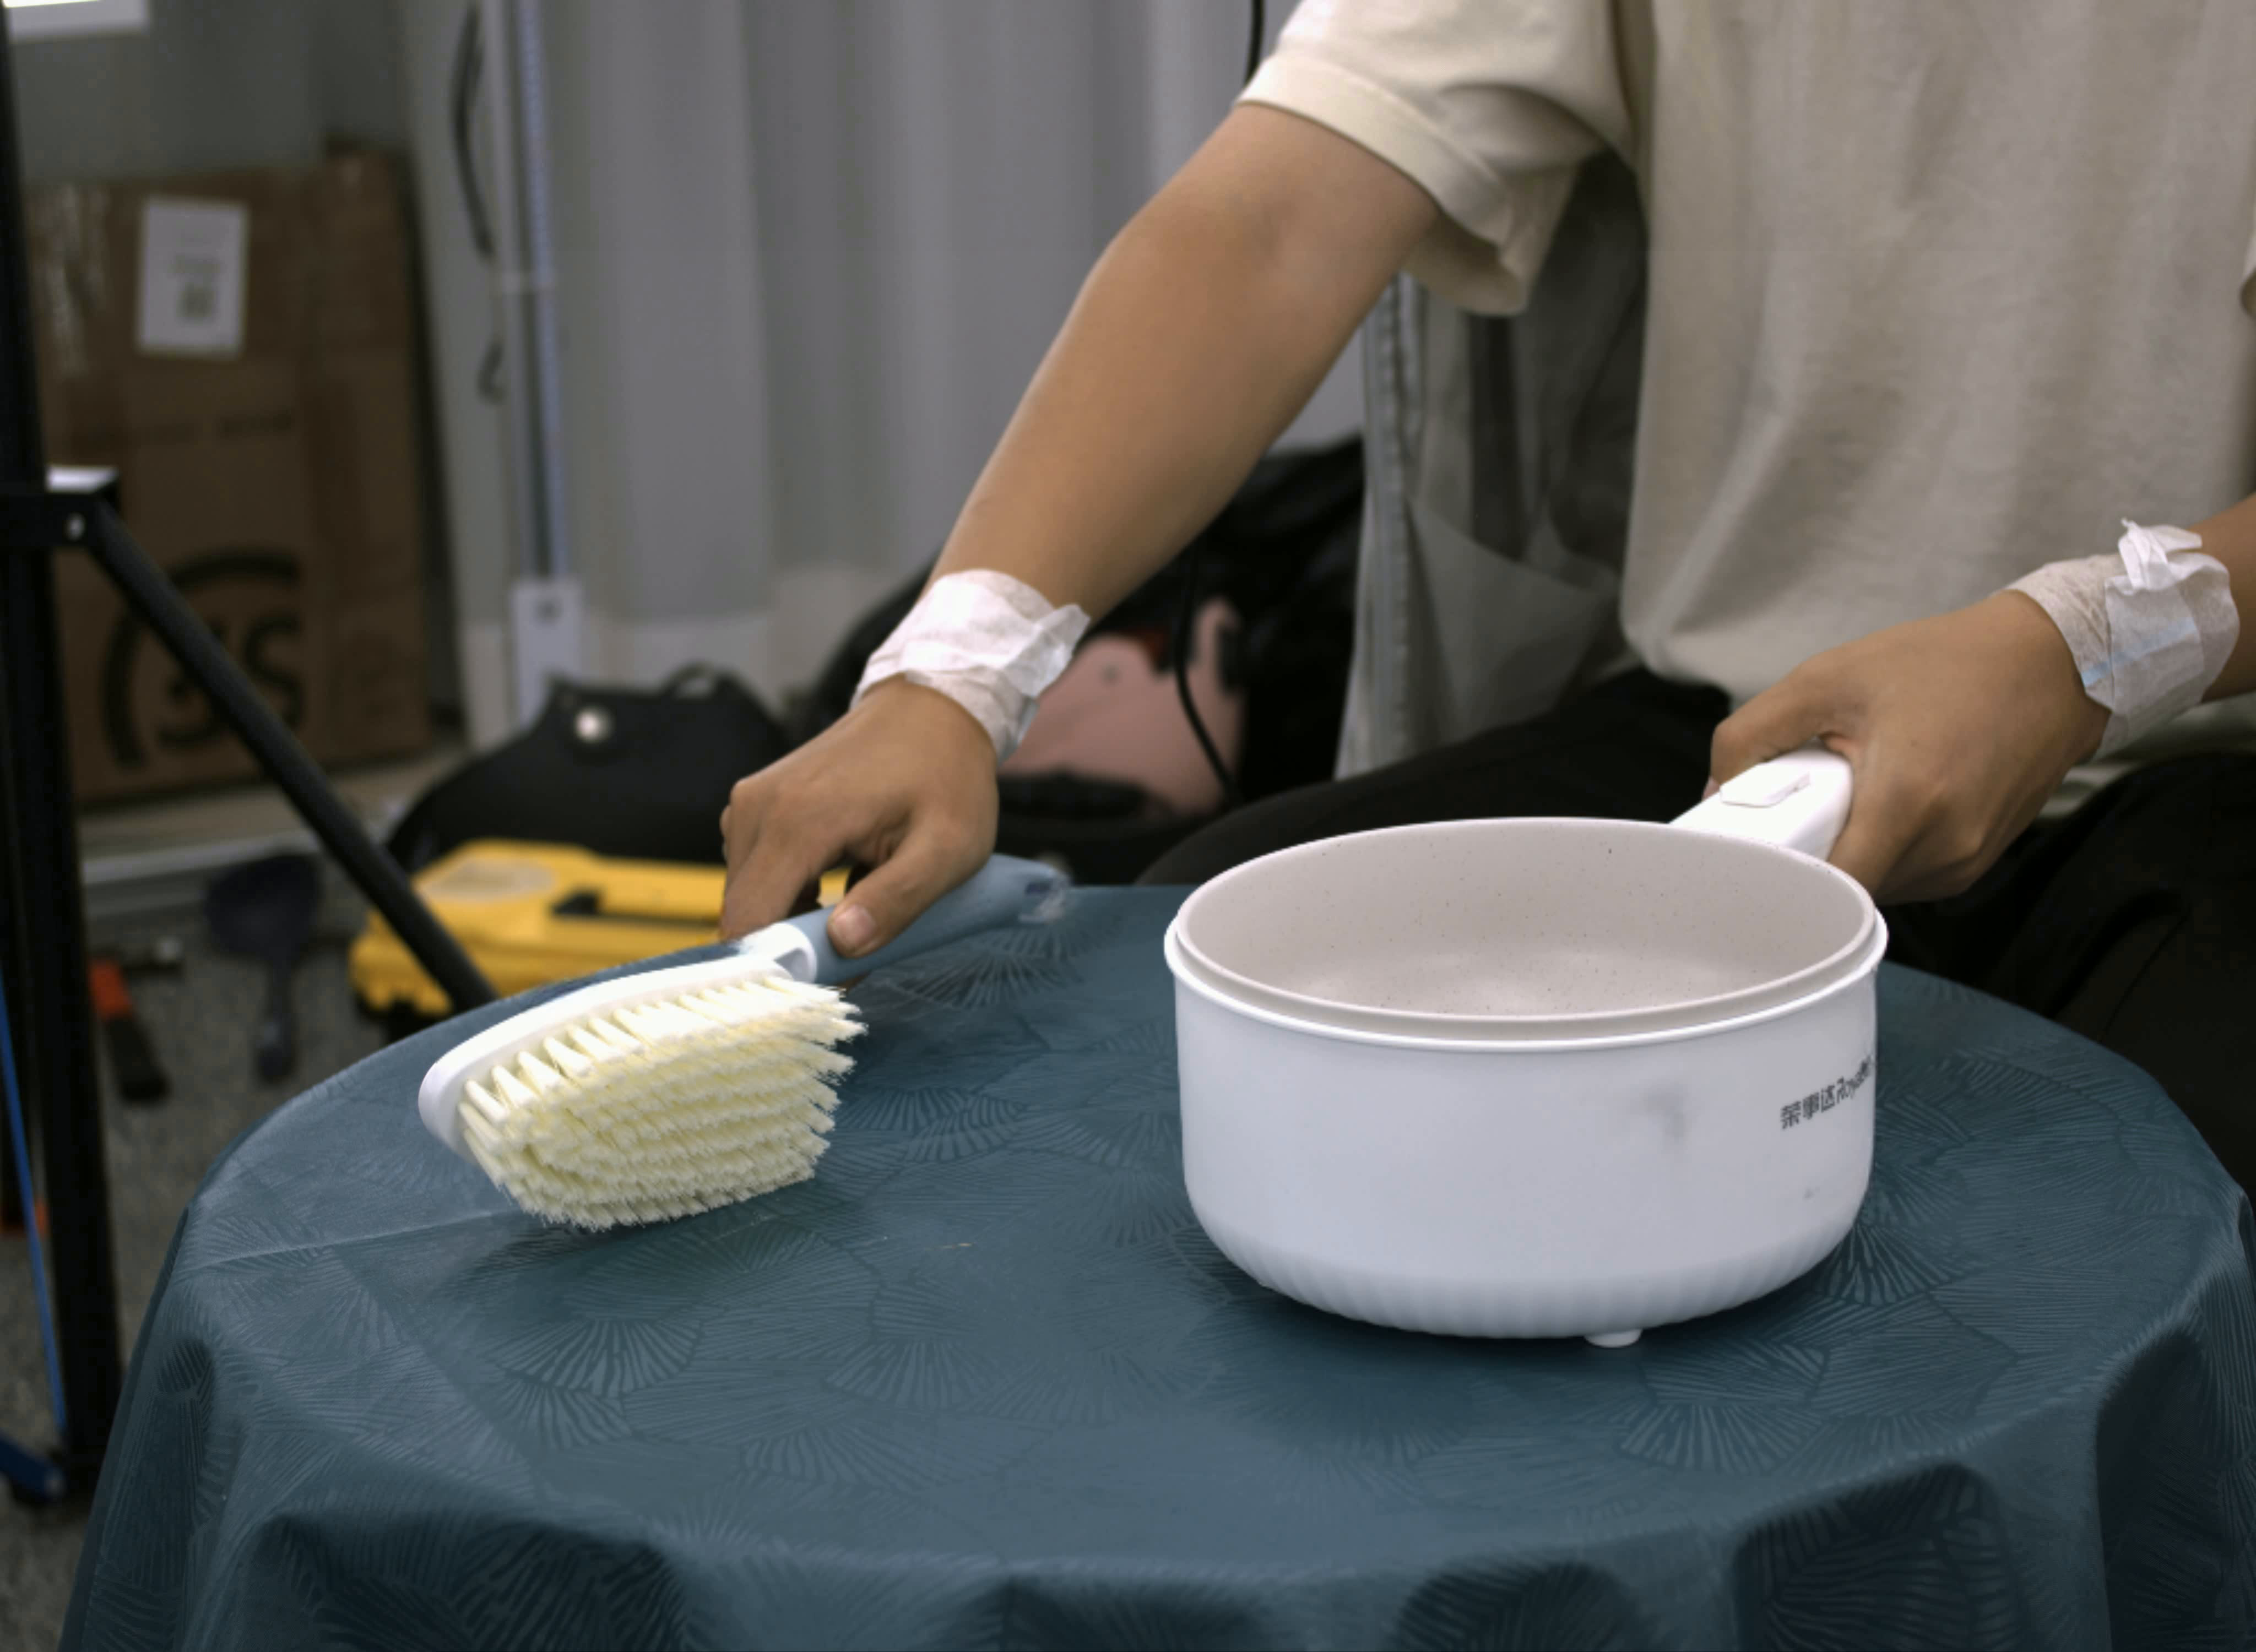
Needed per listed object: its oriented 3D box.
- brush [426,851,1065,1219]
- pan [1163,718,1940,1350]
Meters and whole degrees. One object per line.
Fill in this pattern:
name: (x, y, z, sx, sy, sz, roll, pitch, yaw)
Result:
brush: (-0.085, 0.057, 1.630, 0.084, 0.085, 0.318, -36, -10, 33)
pan: (0.149, 0.055, 1.542, 0.205, 0.102, 0.348, 6, 17, 31)
